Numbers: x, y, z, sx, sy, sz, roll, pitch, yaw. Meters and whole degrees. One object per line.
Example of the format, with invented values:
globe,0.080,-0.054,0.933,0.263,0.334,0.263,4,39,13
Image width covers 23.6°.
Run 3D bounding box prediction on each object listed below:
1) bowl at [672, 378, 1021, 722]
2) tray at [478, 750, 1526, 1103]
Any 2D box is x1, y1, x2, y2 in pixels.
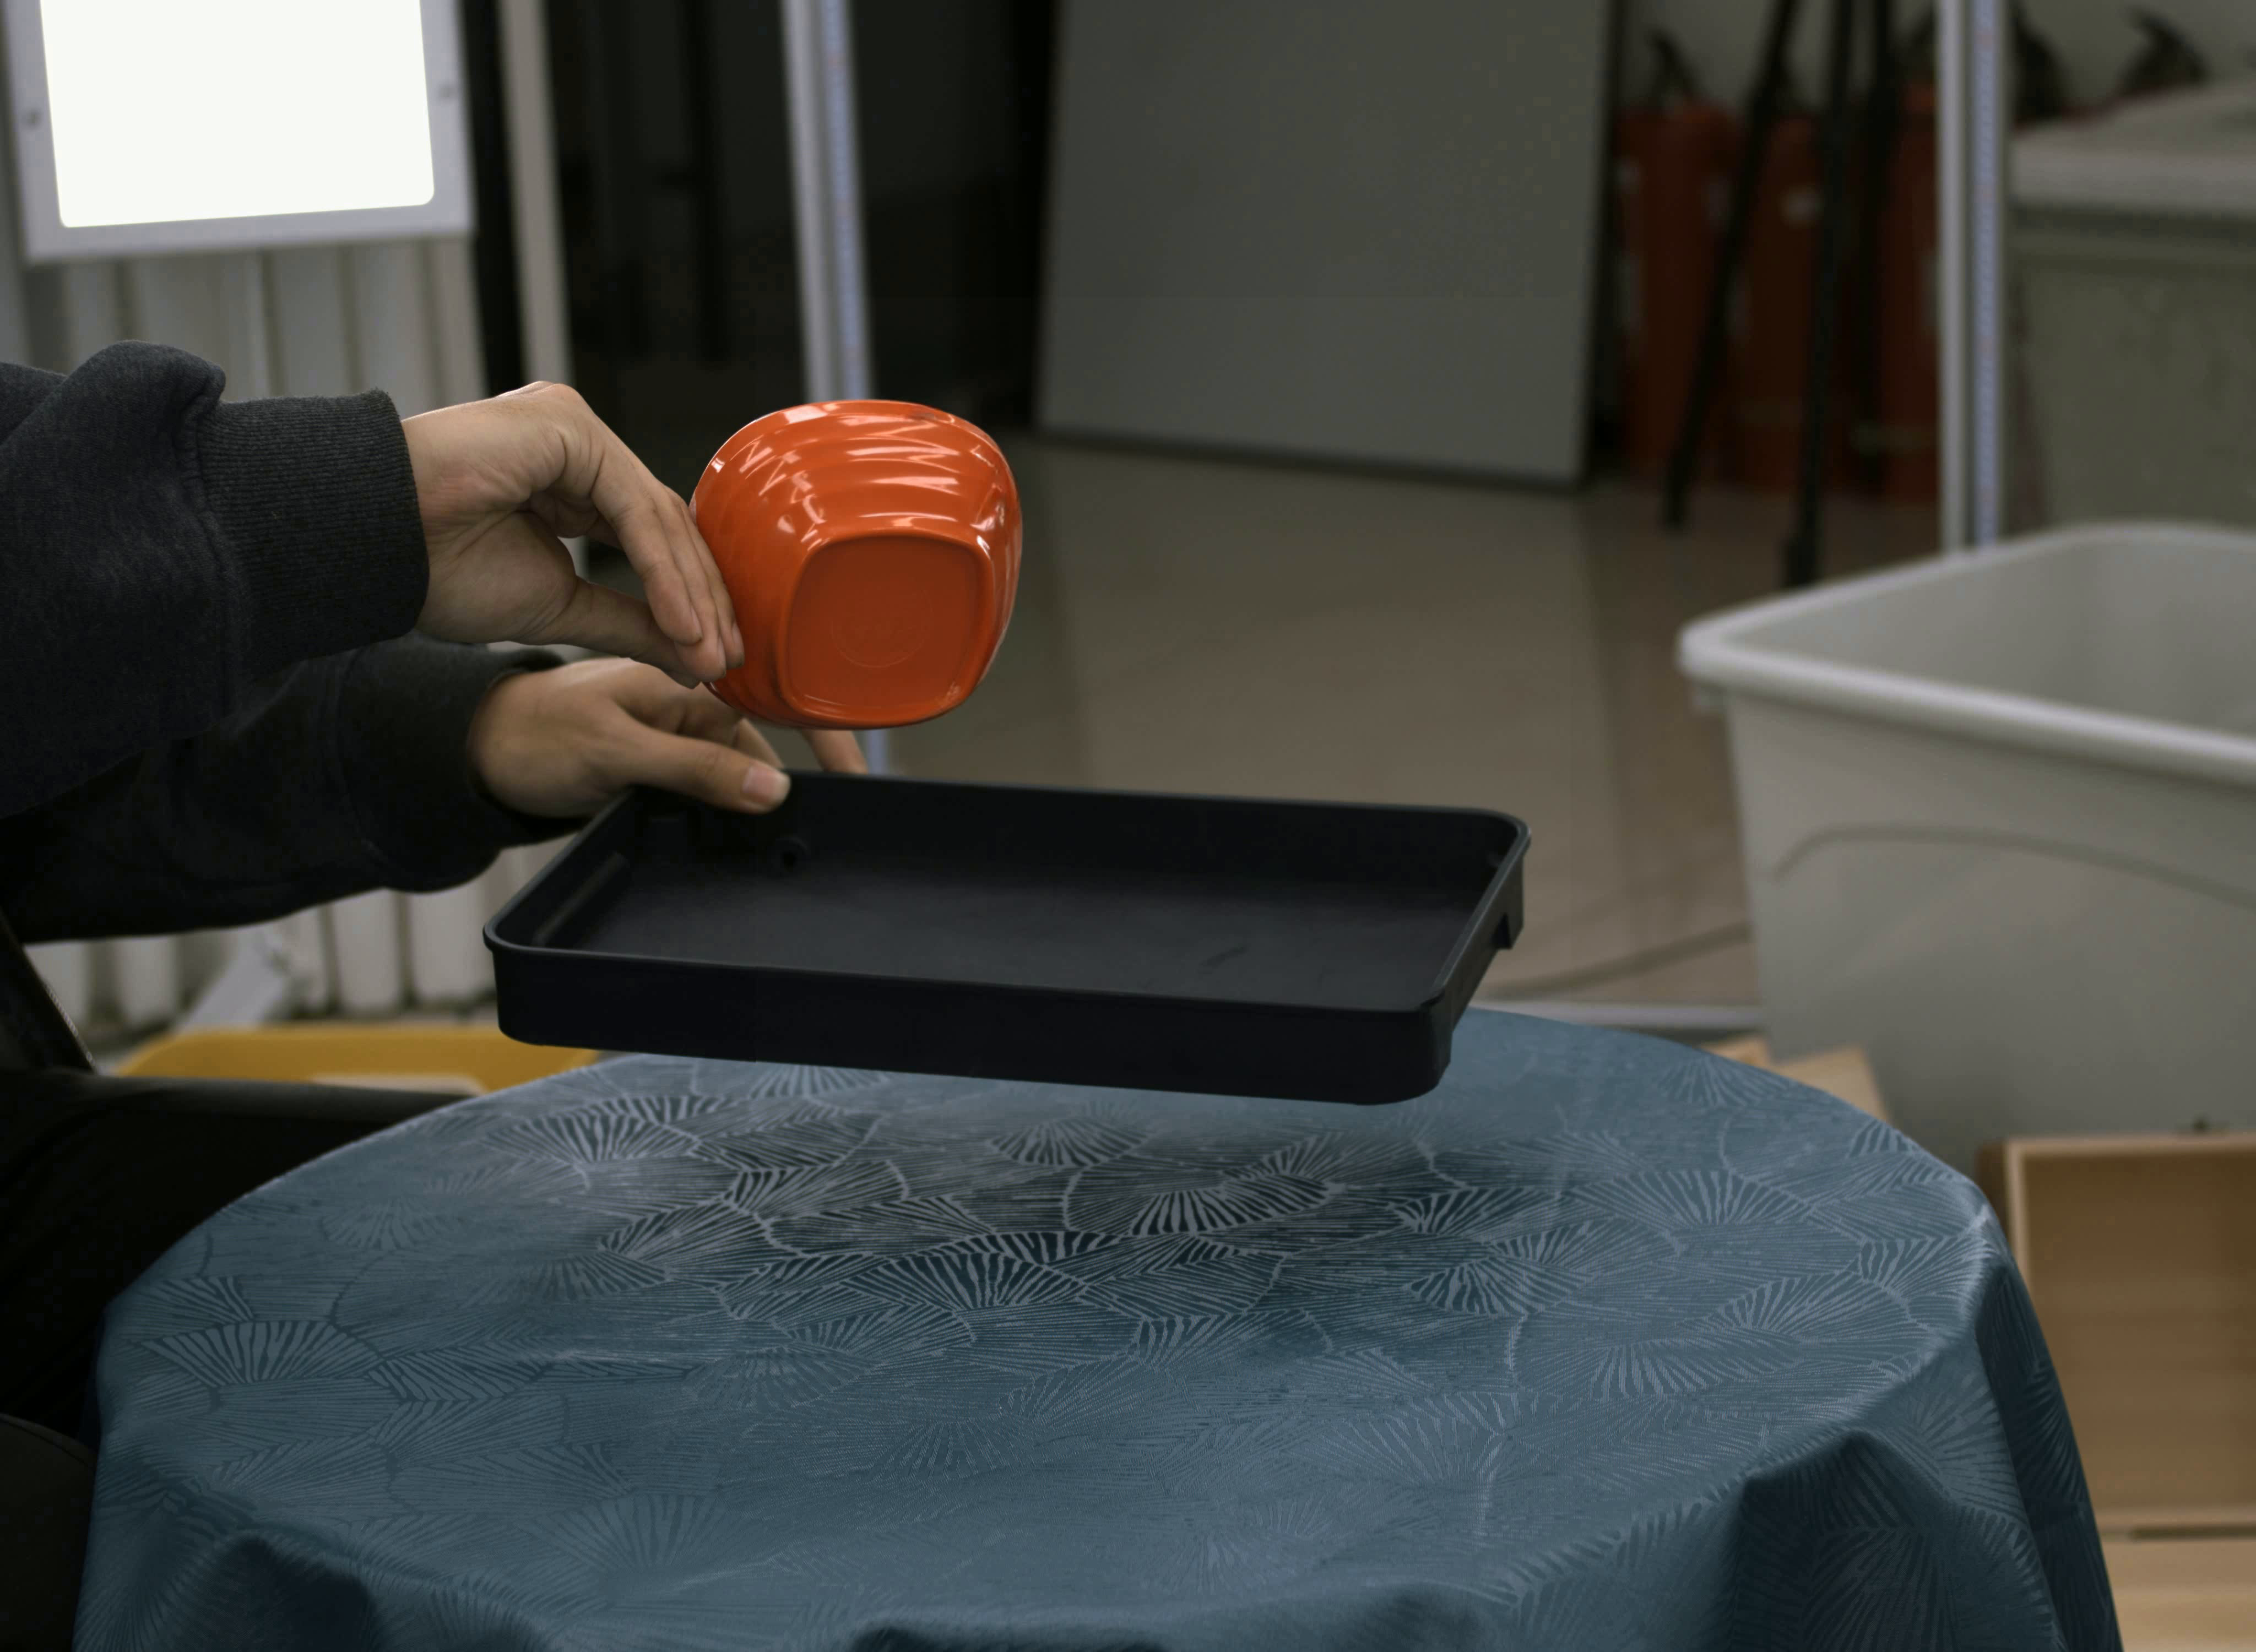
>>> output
bowl,-0.080,-0.075,1.648,0.116,0.120,0.052,-7,30,-15
tray,-0.038,0.030,1.757,0.317,0.037,0.183,4,20,16
